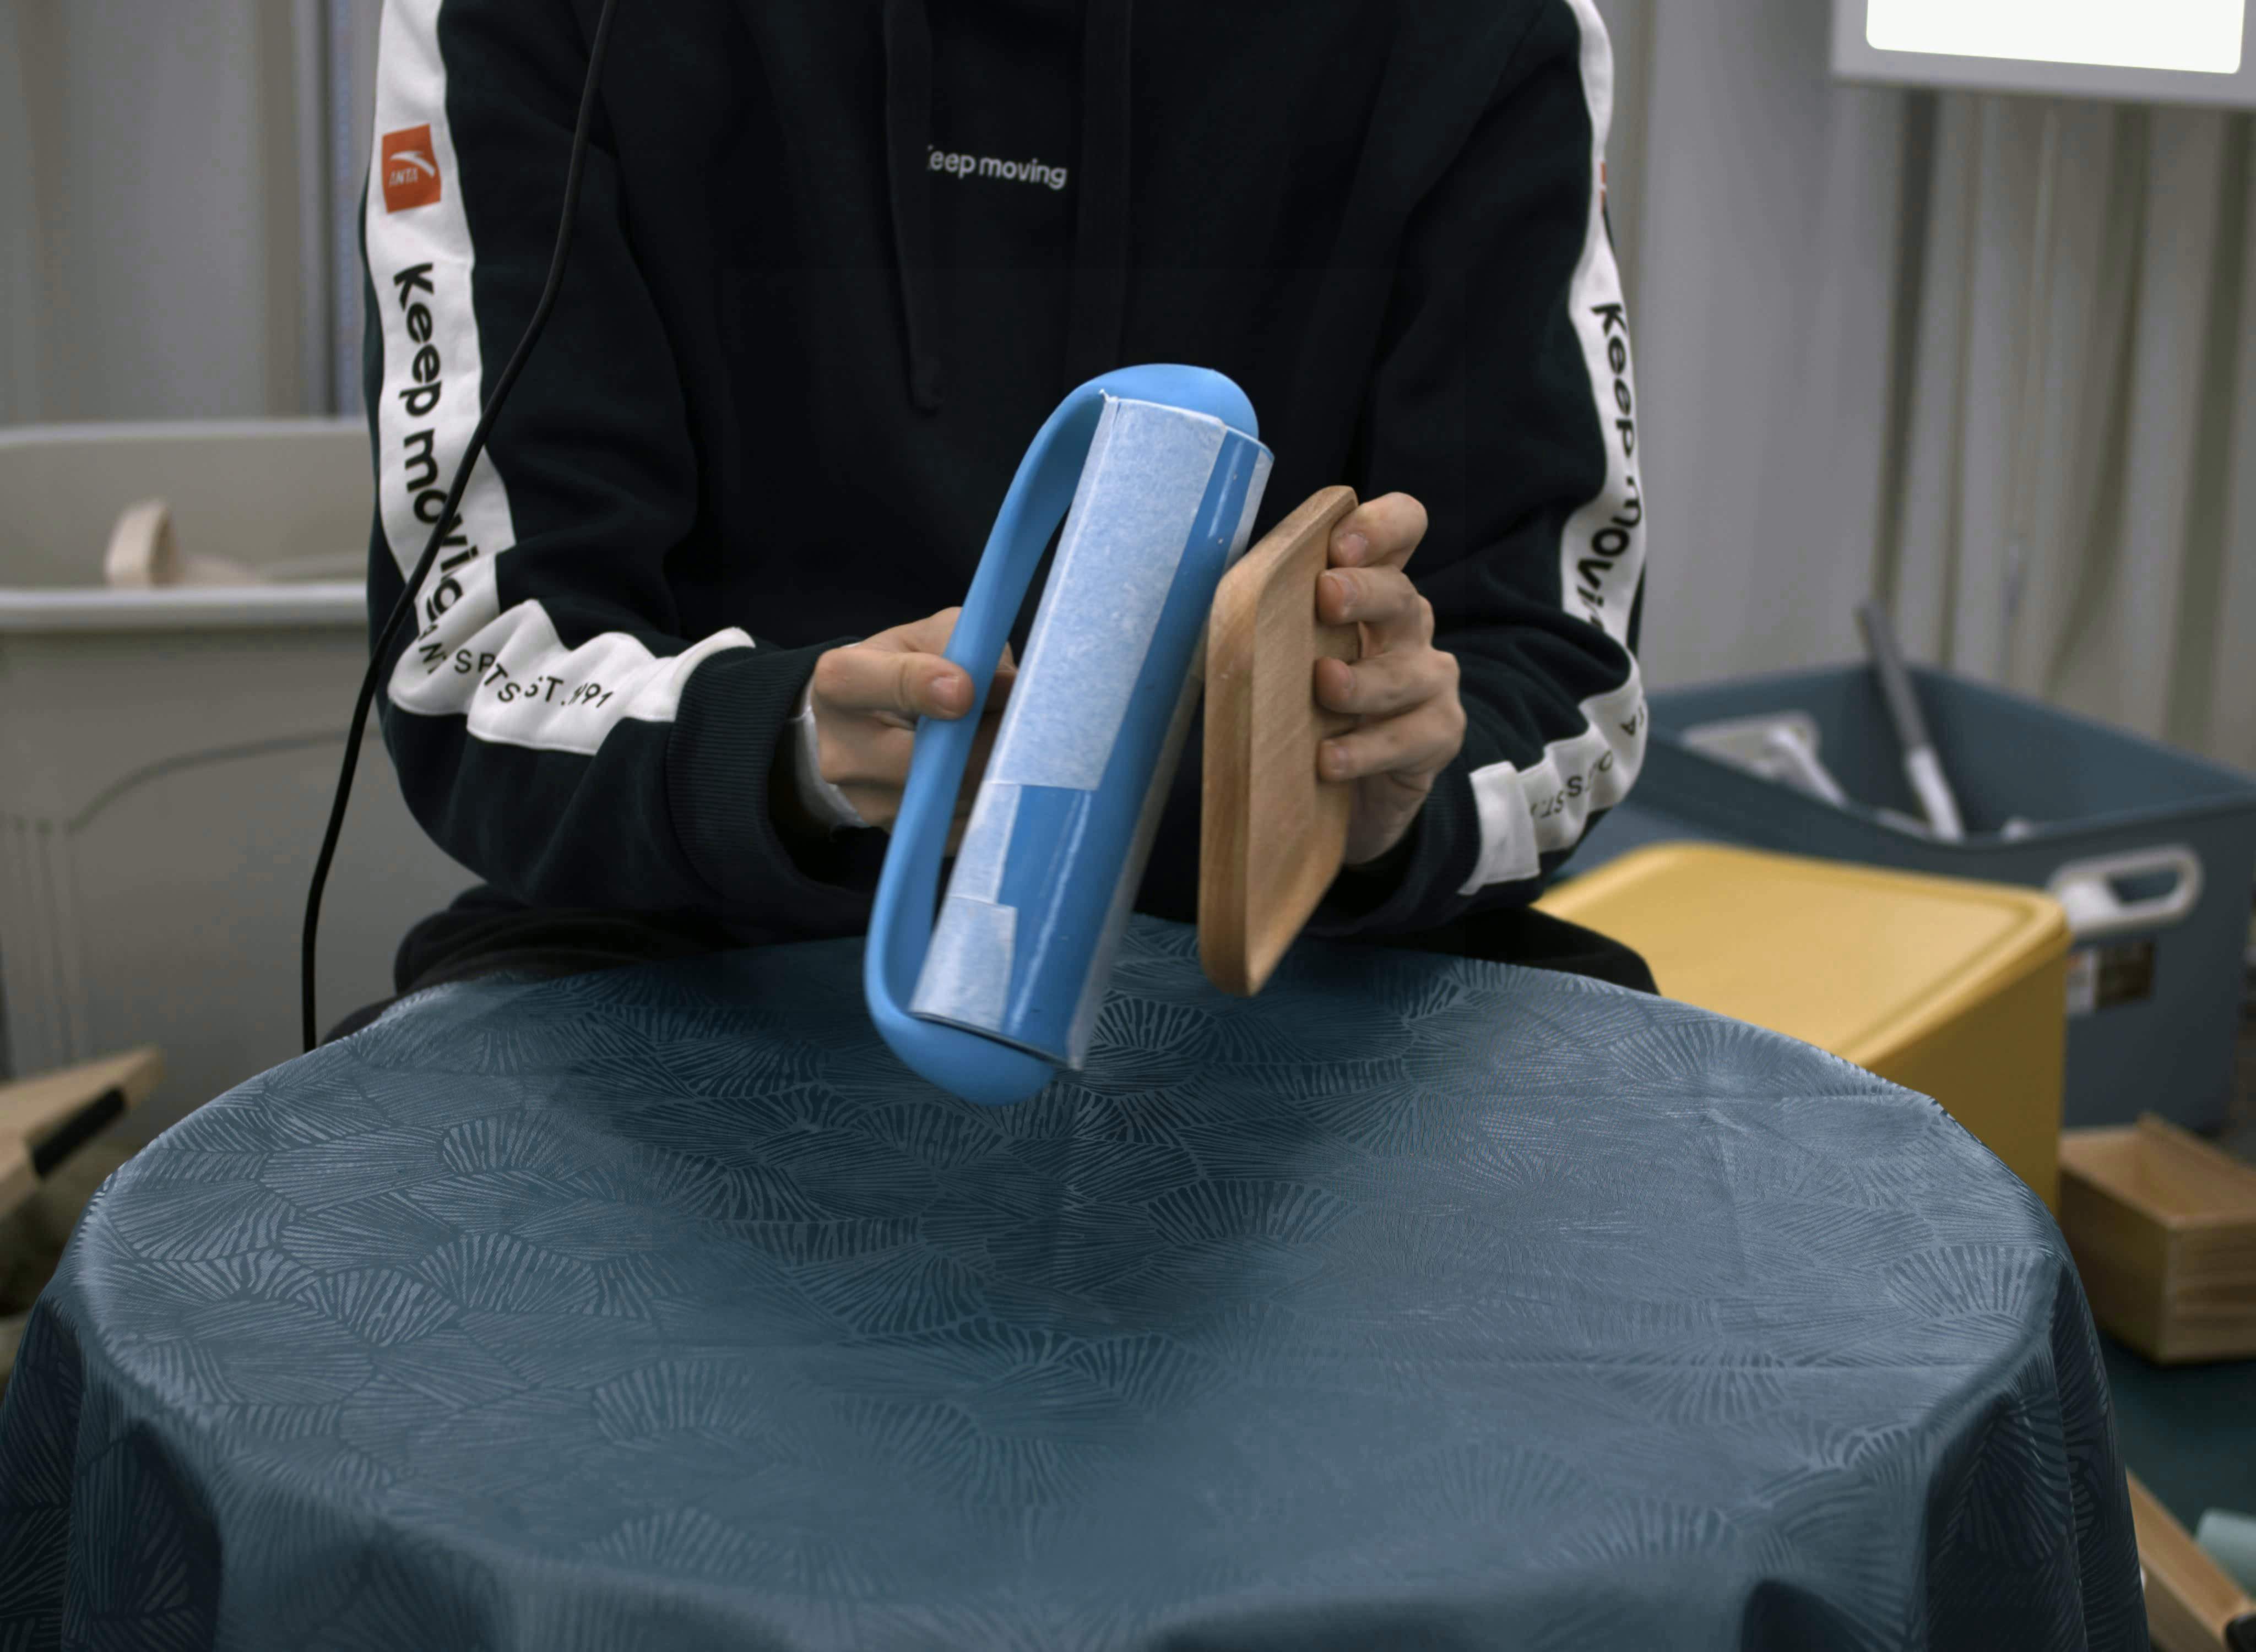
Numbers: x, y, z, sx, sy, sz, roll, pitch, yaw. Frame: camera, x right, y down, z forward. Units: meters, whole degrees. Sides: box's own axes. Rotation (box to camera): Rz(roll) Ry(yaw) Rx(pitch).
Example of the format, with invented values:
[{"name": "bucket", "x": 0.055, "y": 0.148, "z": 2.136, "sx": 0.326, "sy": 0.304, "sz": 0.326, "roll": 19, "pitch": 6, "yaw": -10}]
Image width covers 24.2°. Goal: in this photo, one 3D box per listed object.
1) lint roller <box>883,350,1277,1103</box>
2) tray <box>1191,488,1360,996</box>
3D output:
[{"name": "lint roller", "x": -0.030, "y": -0.027, "z": 1.597, "sx": 0.068, "sy": 0.229, "sz": 0.179, "roll": 17, "pitch": -9, "yaw": -20}, {"name": "tray", "x": 0.046, "y": -0.030, "z": 1.590, "sx": 0.023, "sy": 0.131, "sz": 0.250, "roll": 7, "pitch": 9, "yaw": 7}]
